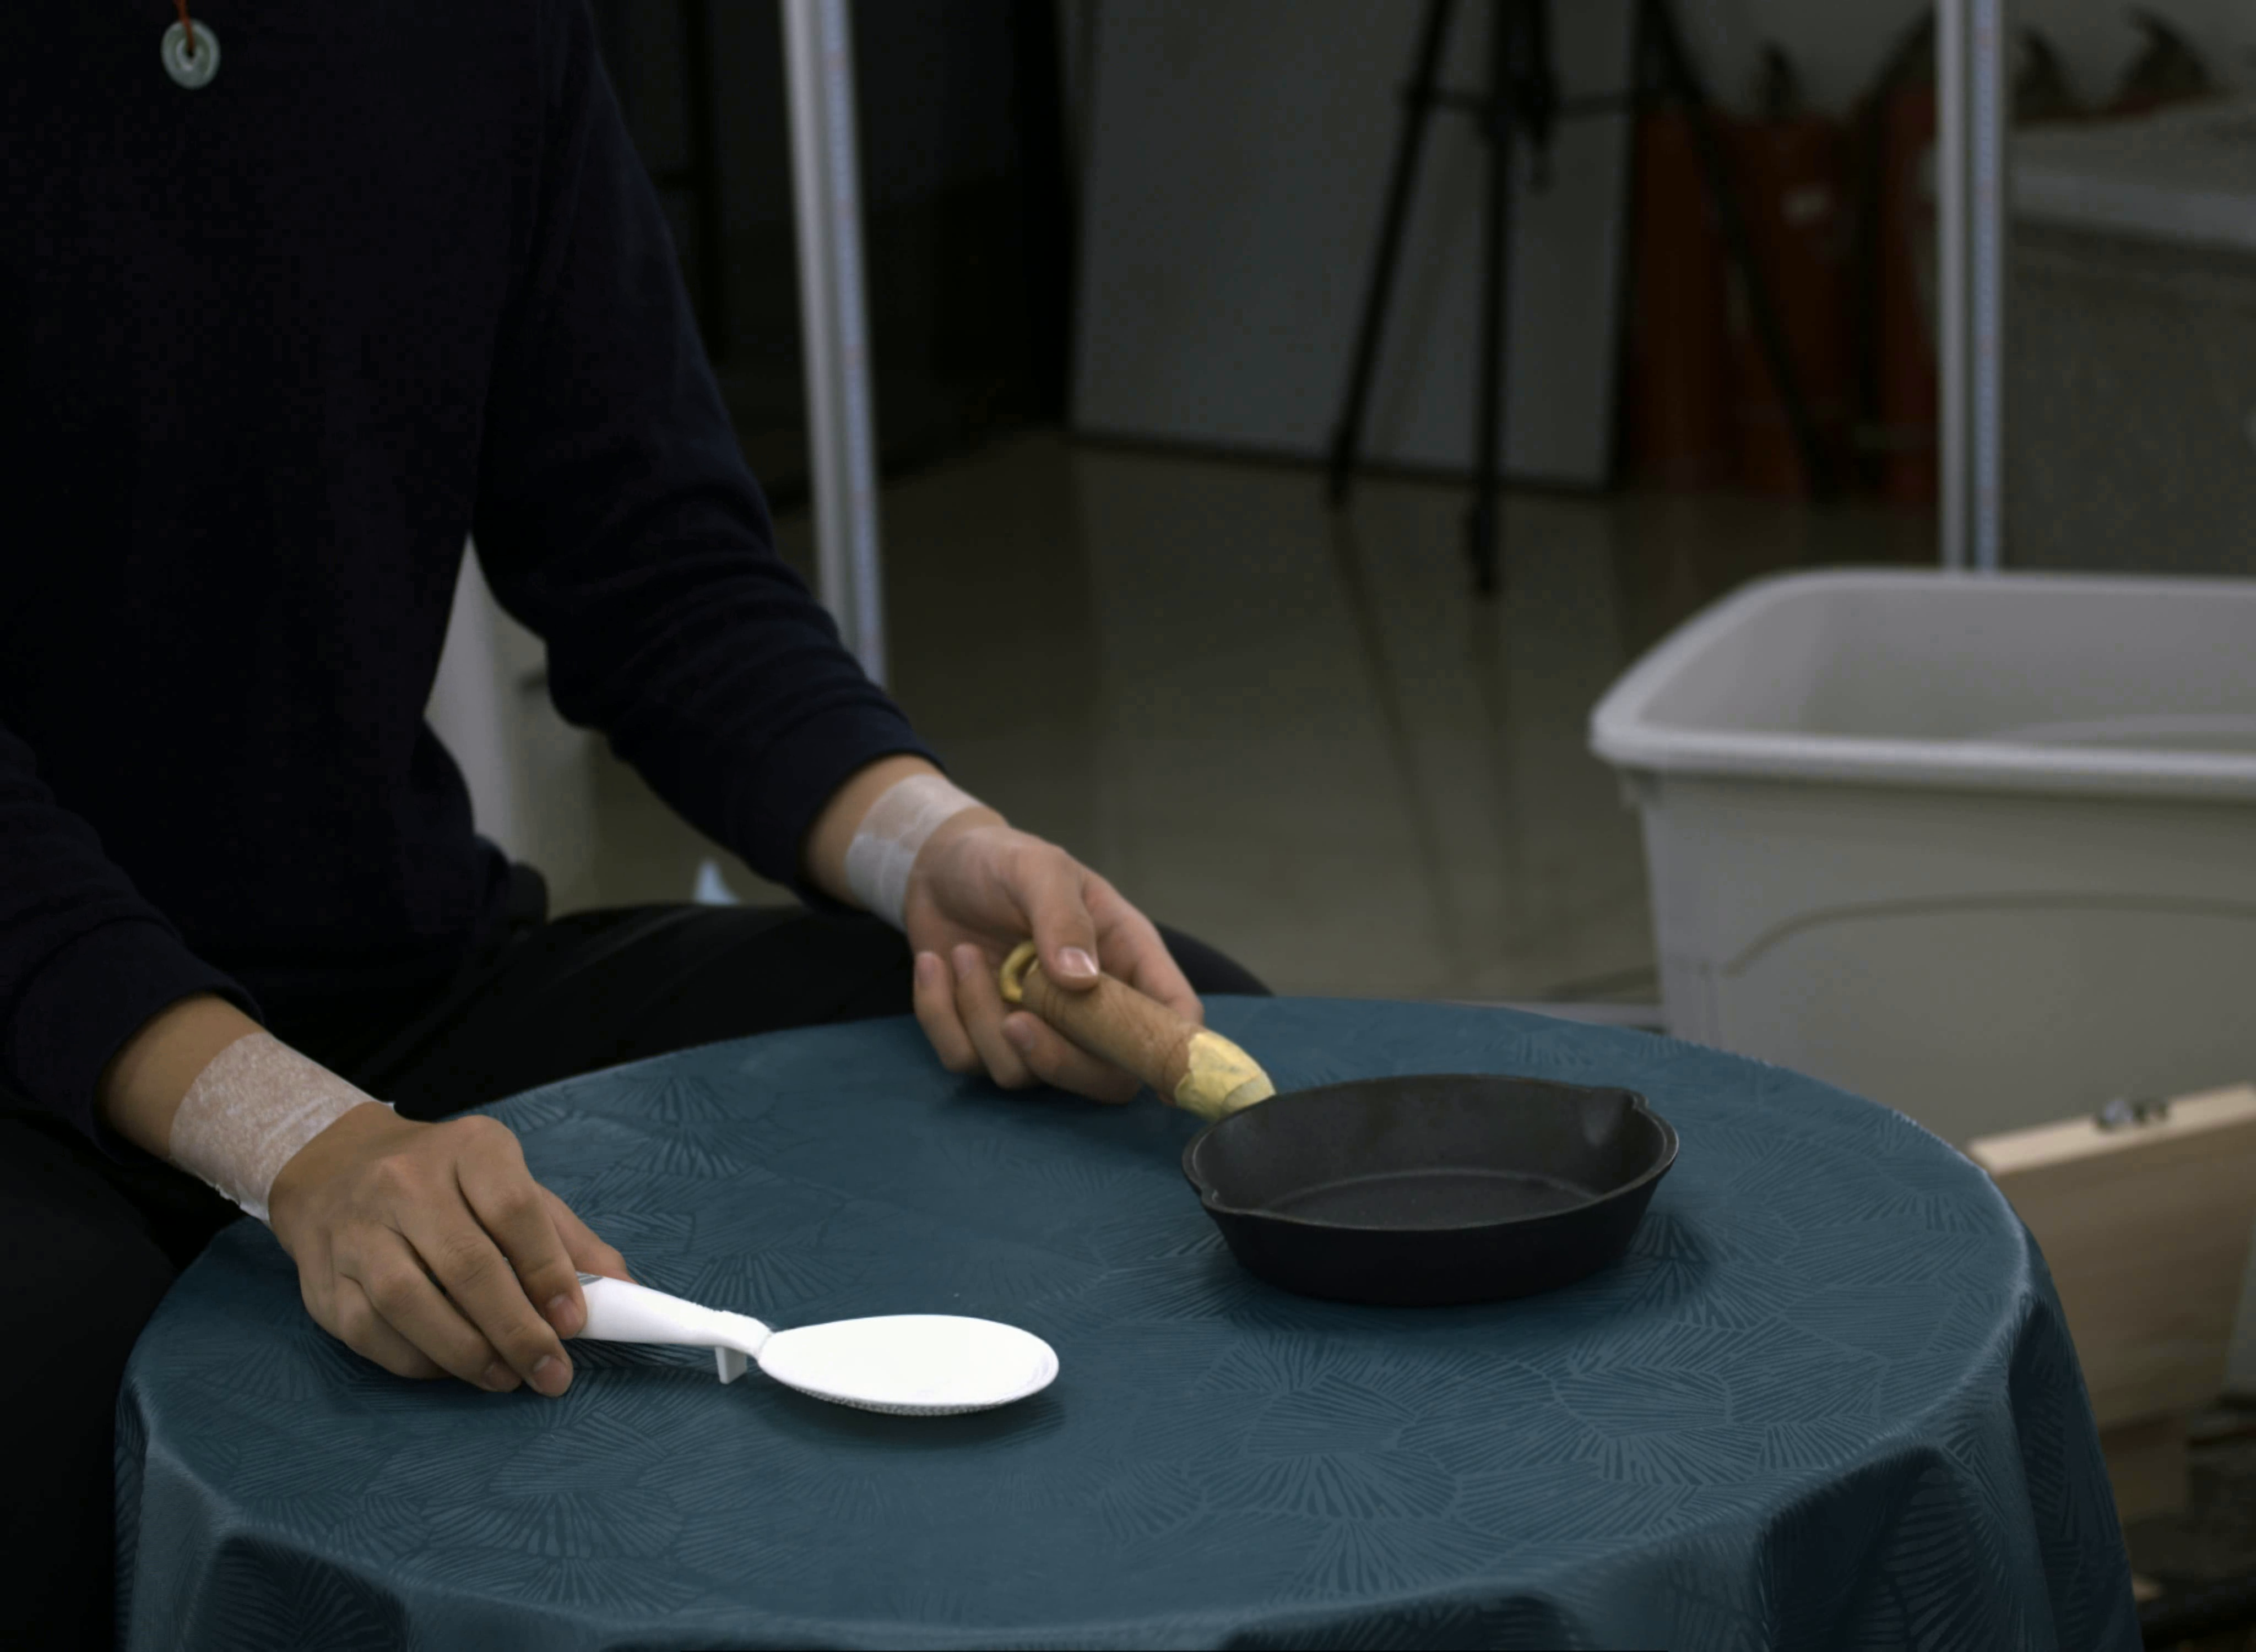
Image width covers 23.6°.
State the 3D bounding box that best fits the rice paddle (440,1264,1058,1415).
[{"bbox_3d":[-0.113,0.153,1.614,0.206,0.030,0.068,3,18,28],"label":"rice paddle"}]

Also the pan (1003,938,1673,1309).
[{"bbox_3d":[0.050,0.093,1.764,0.165,0.050,0.328,-12,17,-29],"label":"pan"}]
